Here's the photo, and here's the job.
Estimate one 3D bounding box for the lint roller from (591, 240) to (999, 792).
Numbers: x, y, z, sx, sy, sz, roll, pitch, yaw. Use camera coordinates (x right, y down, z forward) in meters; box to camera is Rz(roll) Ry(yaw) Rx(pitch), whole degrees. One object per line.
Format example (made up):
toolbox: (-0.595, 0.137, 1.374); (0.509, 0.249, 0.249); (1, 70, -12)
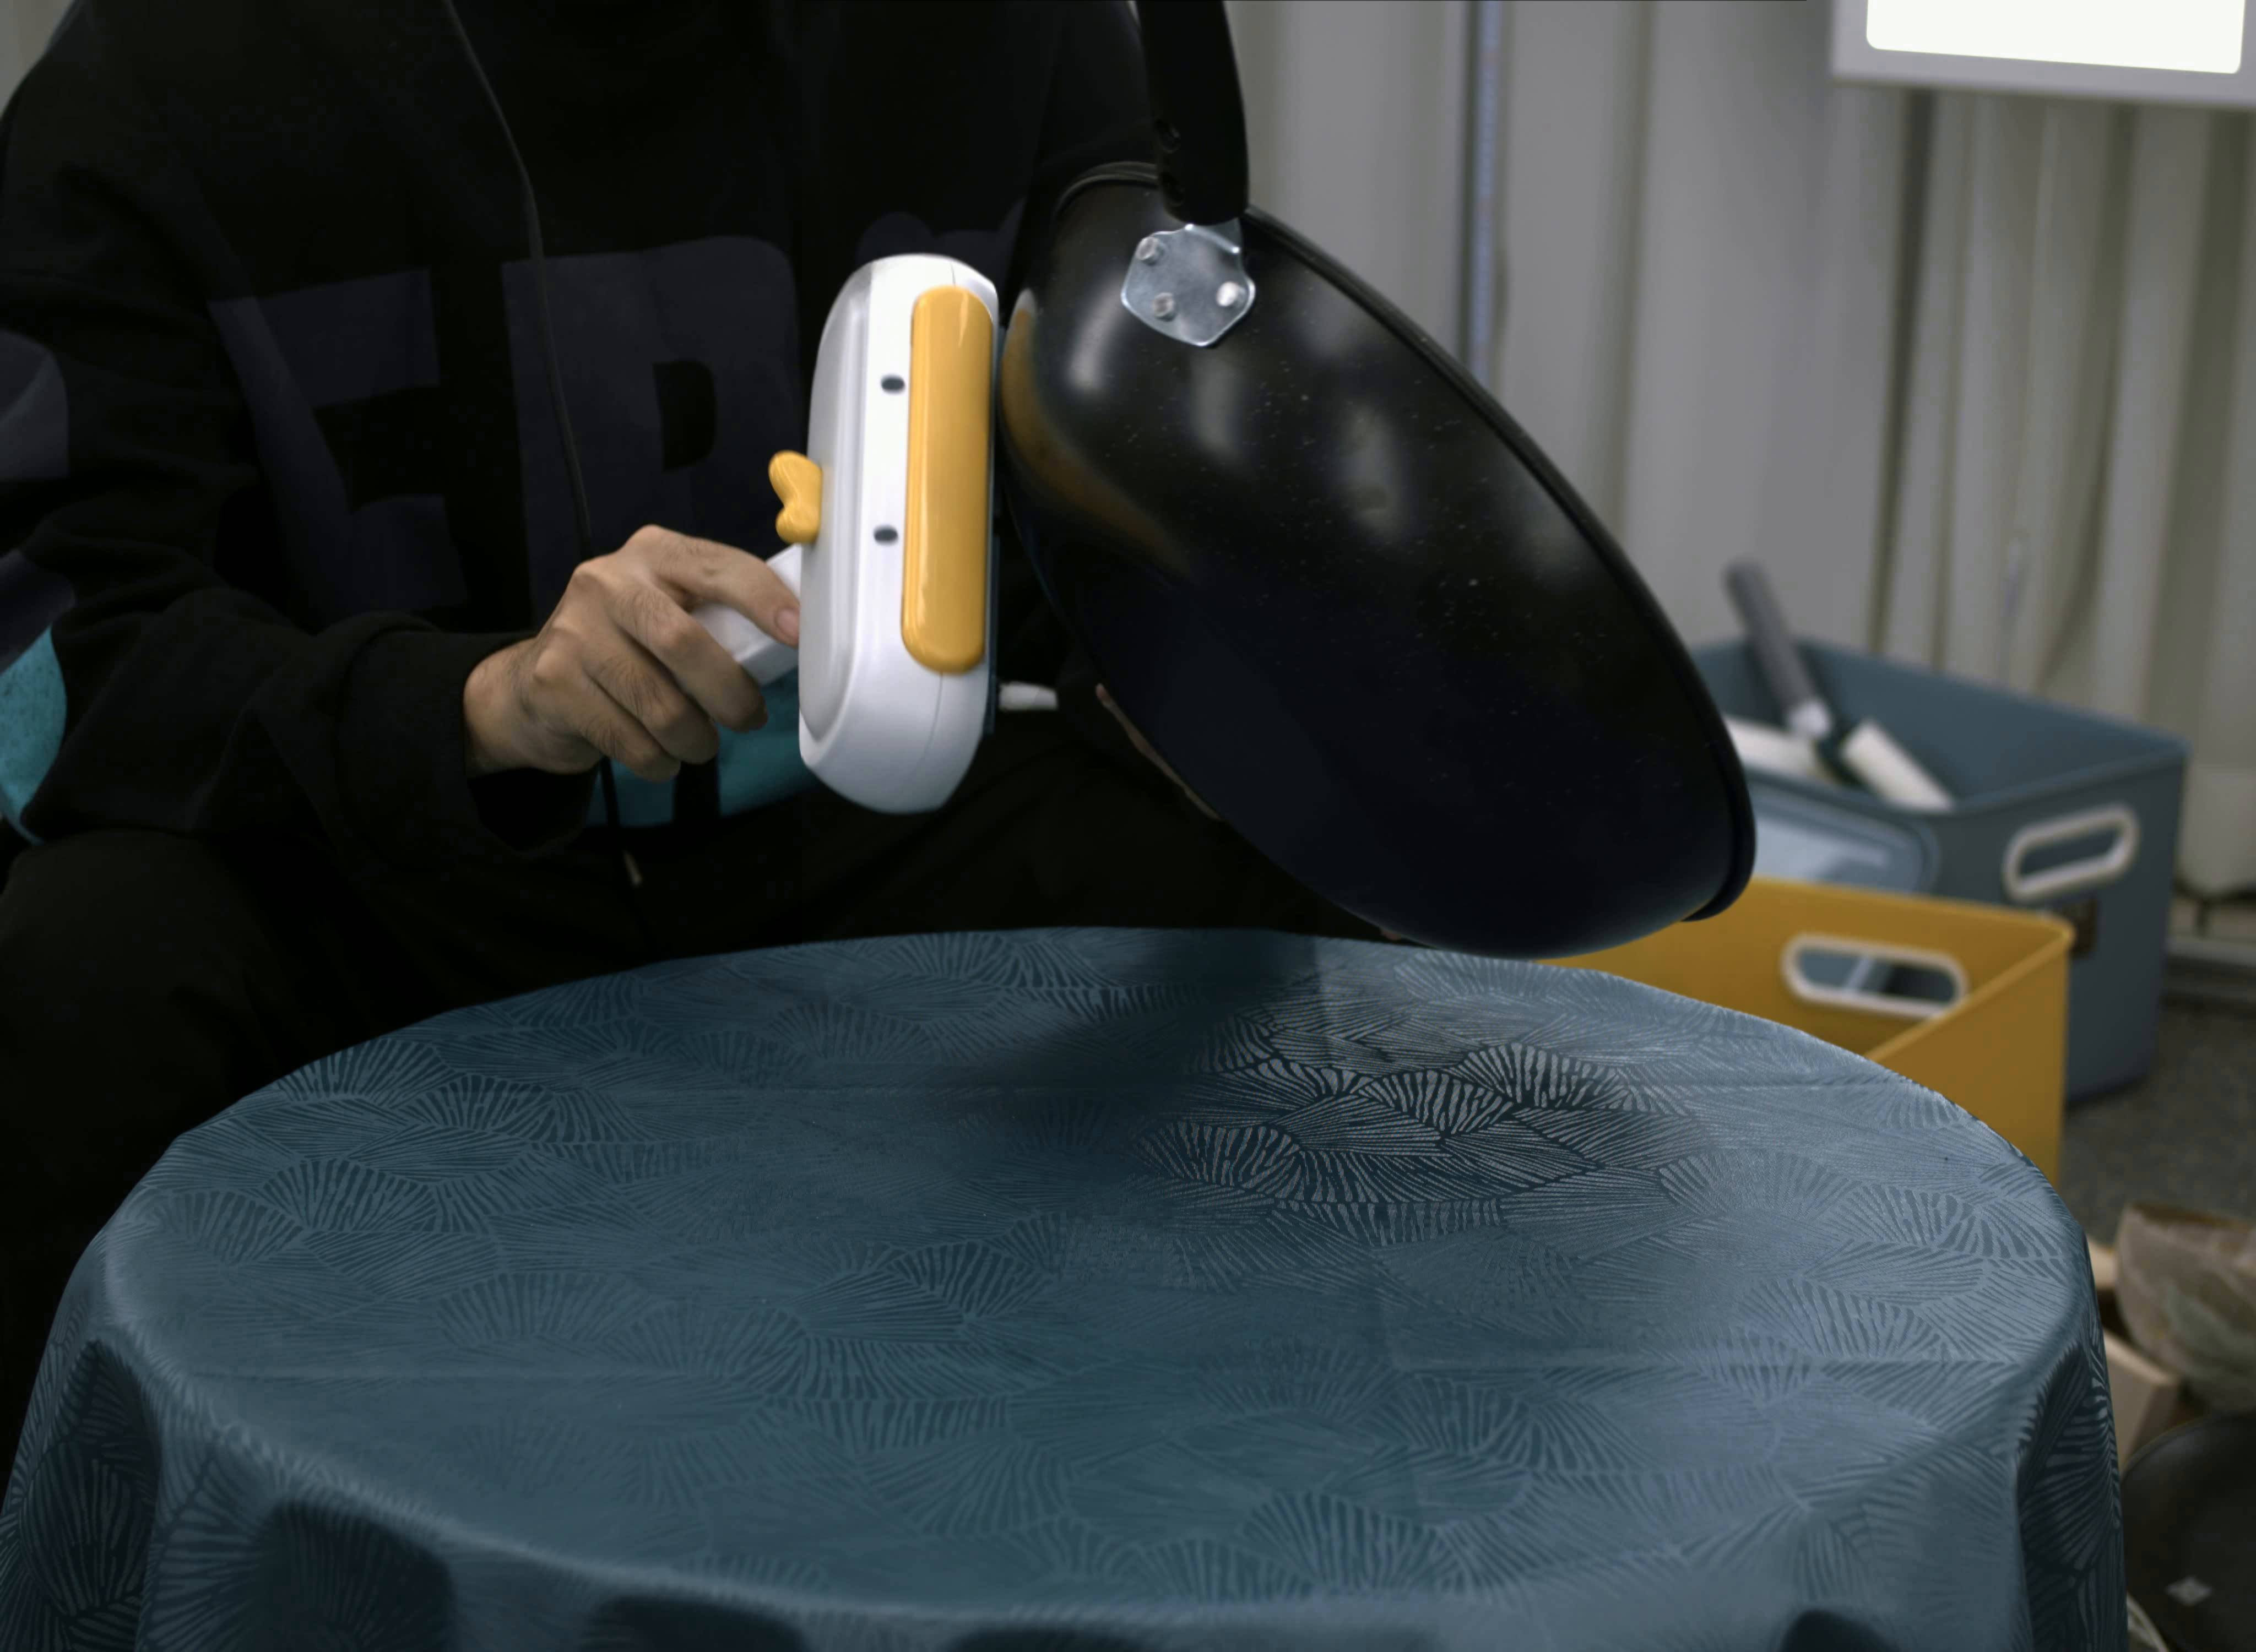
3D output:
lint roller: (-0.108, -0.072, 1.708); (0.075, 0.192, 0.191); (13, 54, -29)

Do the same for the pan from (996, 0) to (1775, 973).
pan: (0.039, -0.119, 1.597); (0.111, 0.484, 0.306); (-44, 47, -16)
